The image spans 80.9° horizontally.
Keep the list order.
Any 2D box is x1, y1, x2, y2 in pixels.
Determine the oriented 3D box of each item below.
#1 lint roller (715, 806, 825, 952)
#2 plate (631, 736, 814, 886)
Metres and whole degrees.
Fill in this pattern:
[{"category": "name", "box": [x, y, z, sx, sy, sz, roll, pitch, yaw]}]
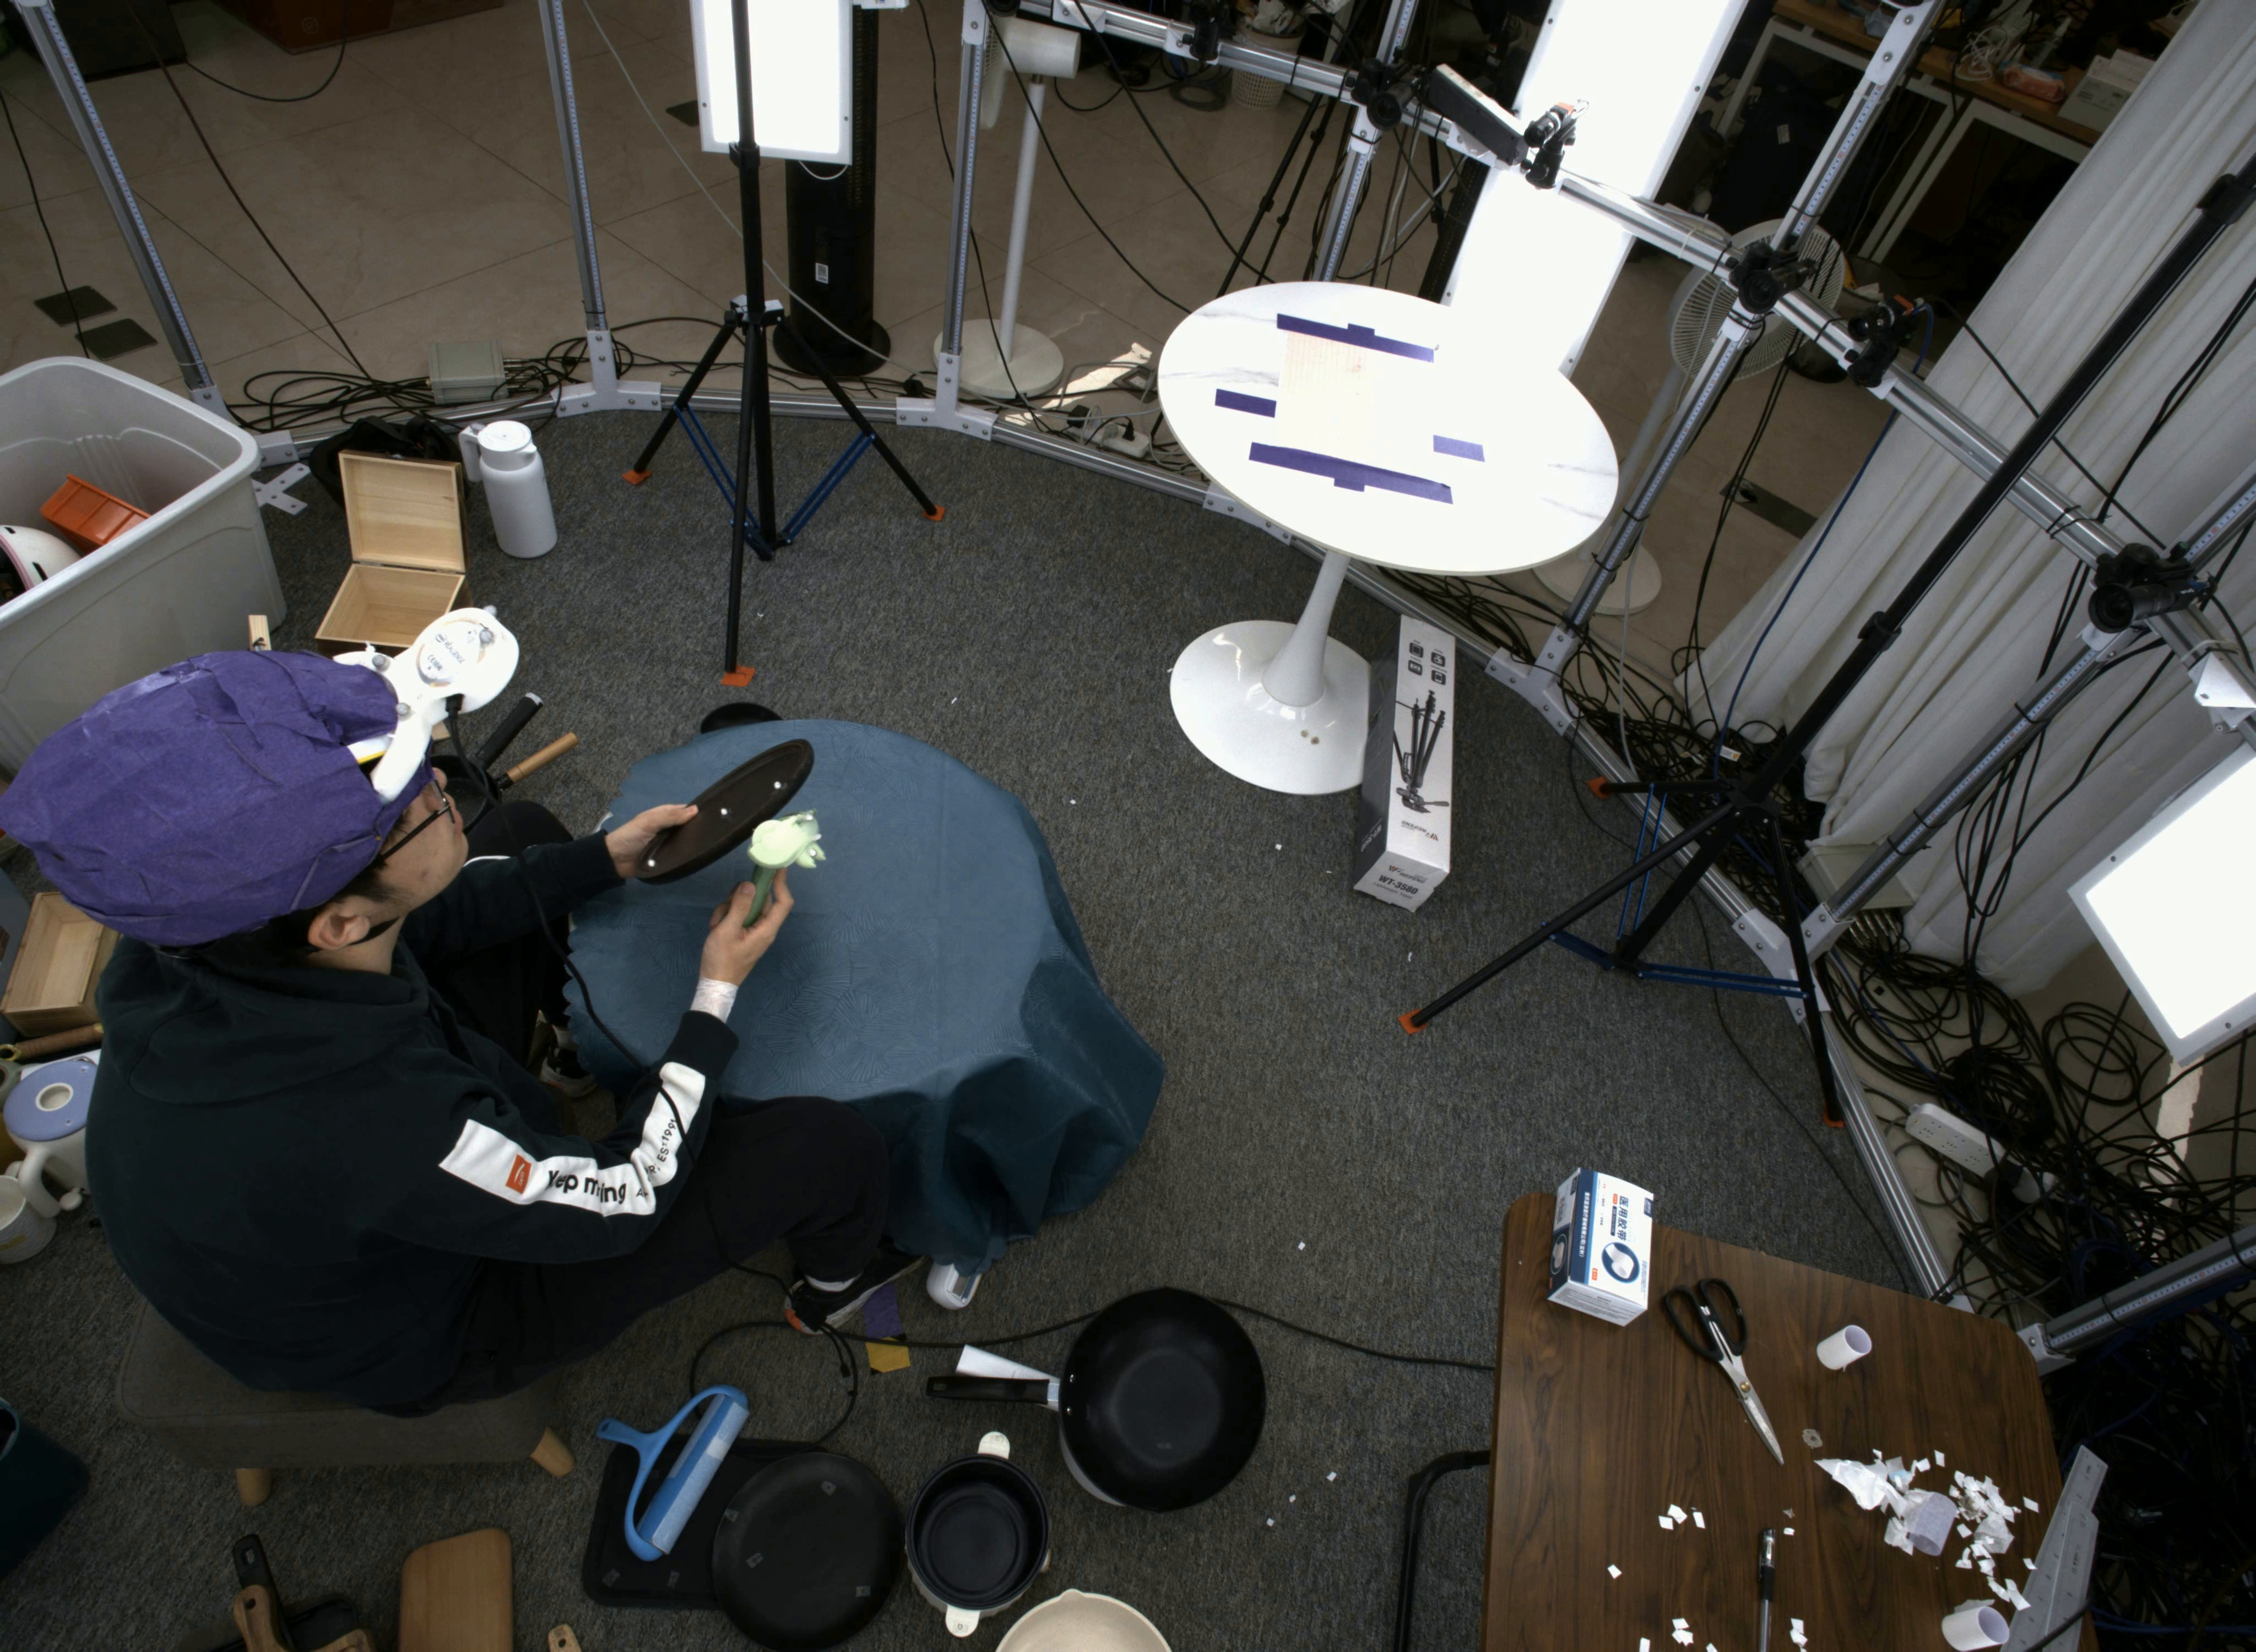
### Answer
[{"category": "lint roller", "box": [-0.403, 0.065, 1.472, 0.082, 0.196, 0.185, 20, 91, -8]}, {"category": "plate", "box": [-0.470, -0.019, 1.506, 0.251, 0.030, 0.250, -26, 26, 16]}]
